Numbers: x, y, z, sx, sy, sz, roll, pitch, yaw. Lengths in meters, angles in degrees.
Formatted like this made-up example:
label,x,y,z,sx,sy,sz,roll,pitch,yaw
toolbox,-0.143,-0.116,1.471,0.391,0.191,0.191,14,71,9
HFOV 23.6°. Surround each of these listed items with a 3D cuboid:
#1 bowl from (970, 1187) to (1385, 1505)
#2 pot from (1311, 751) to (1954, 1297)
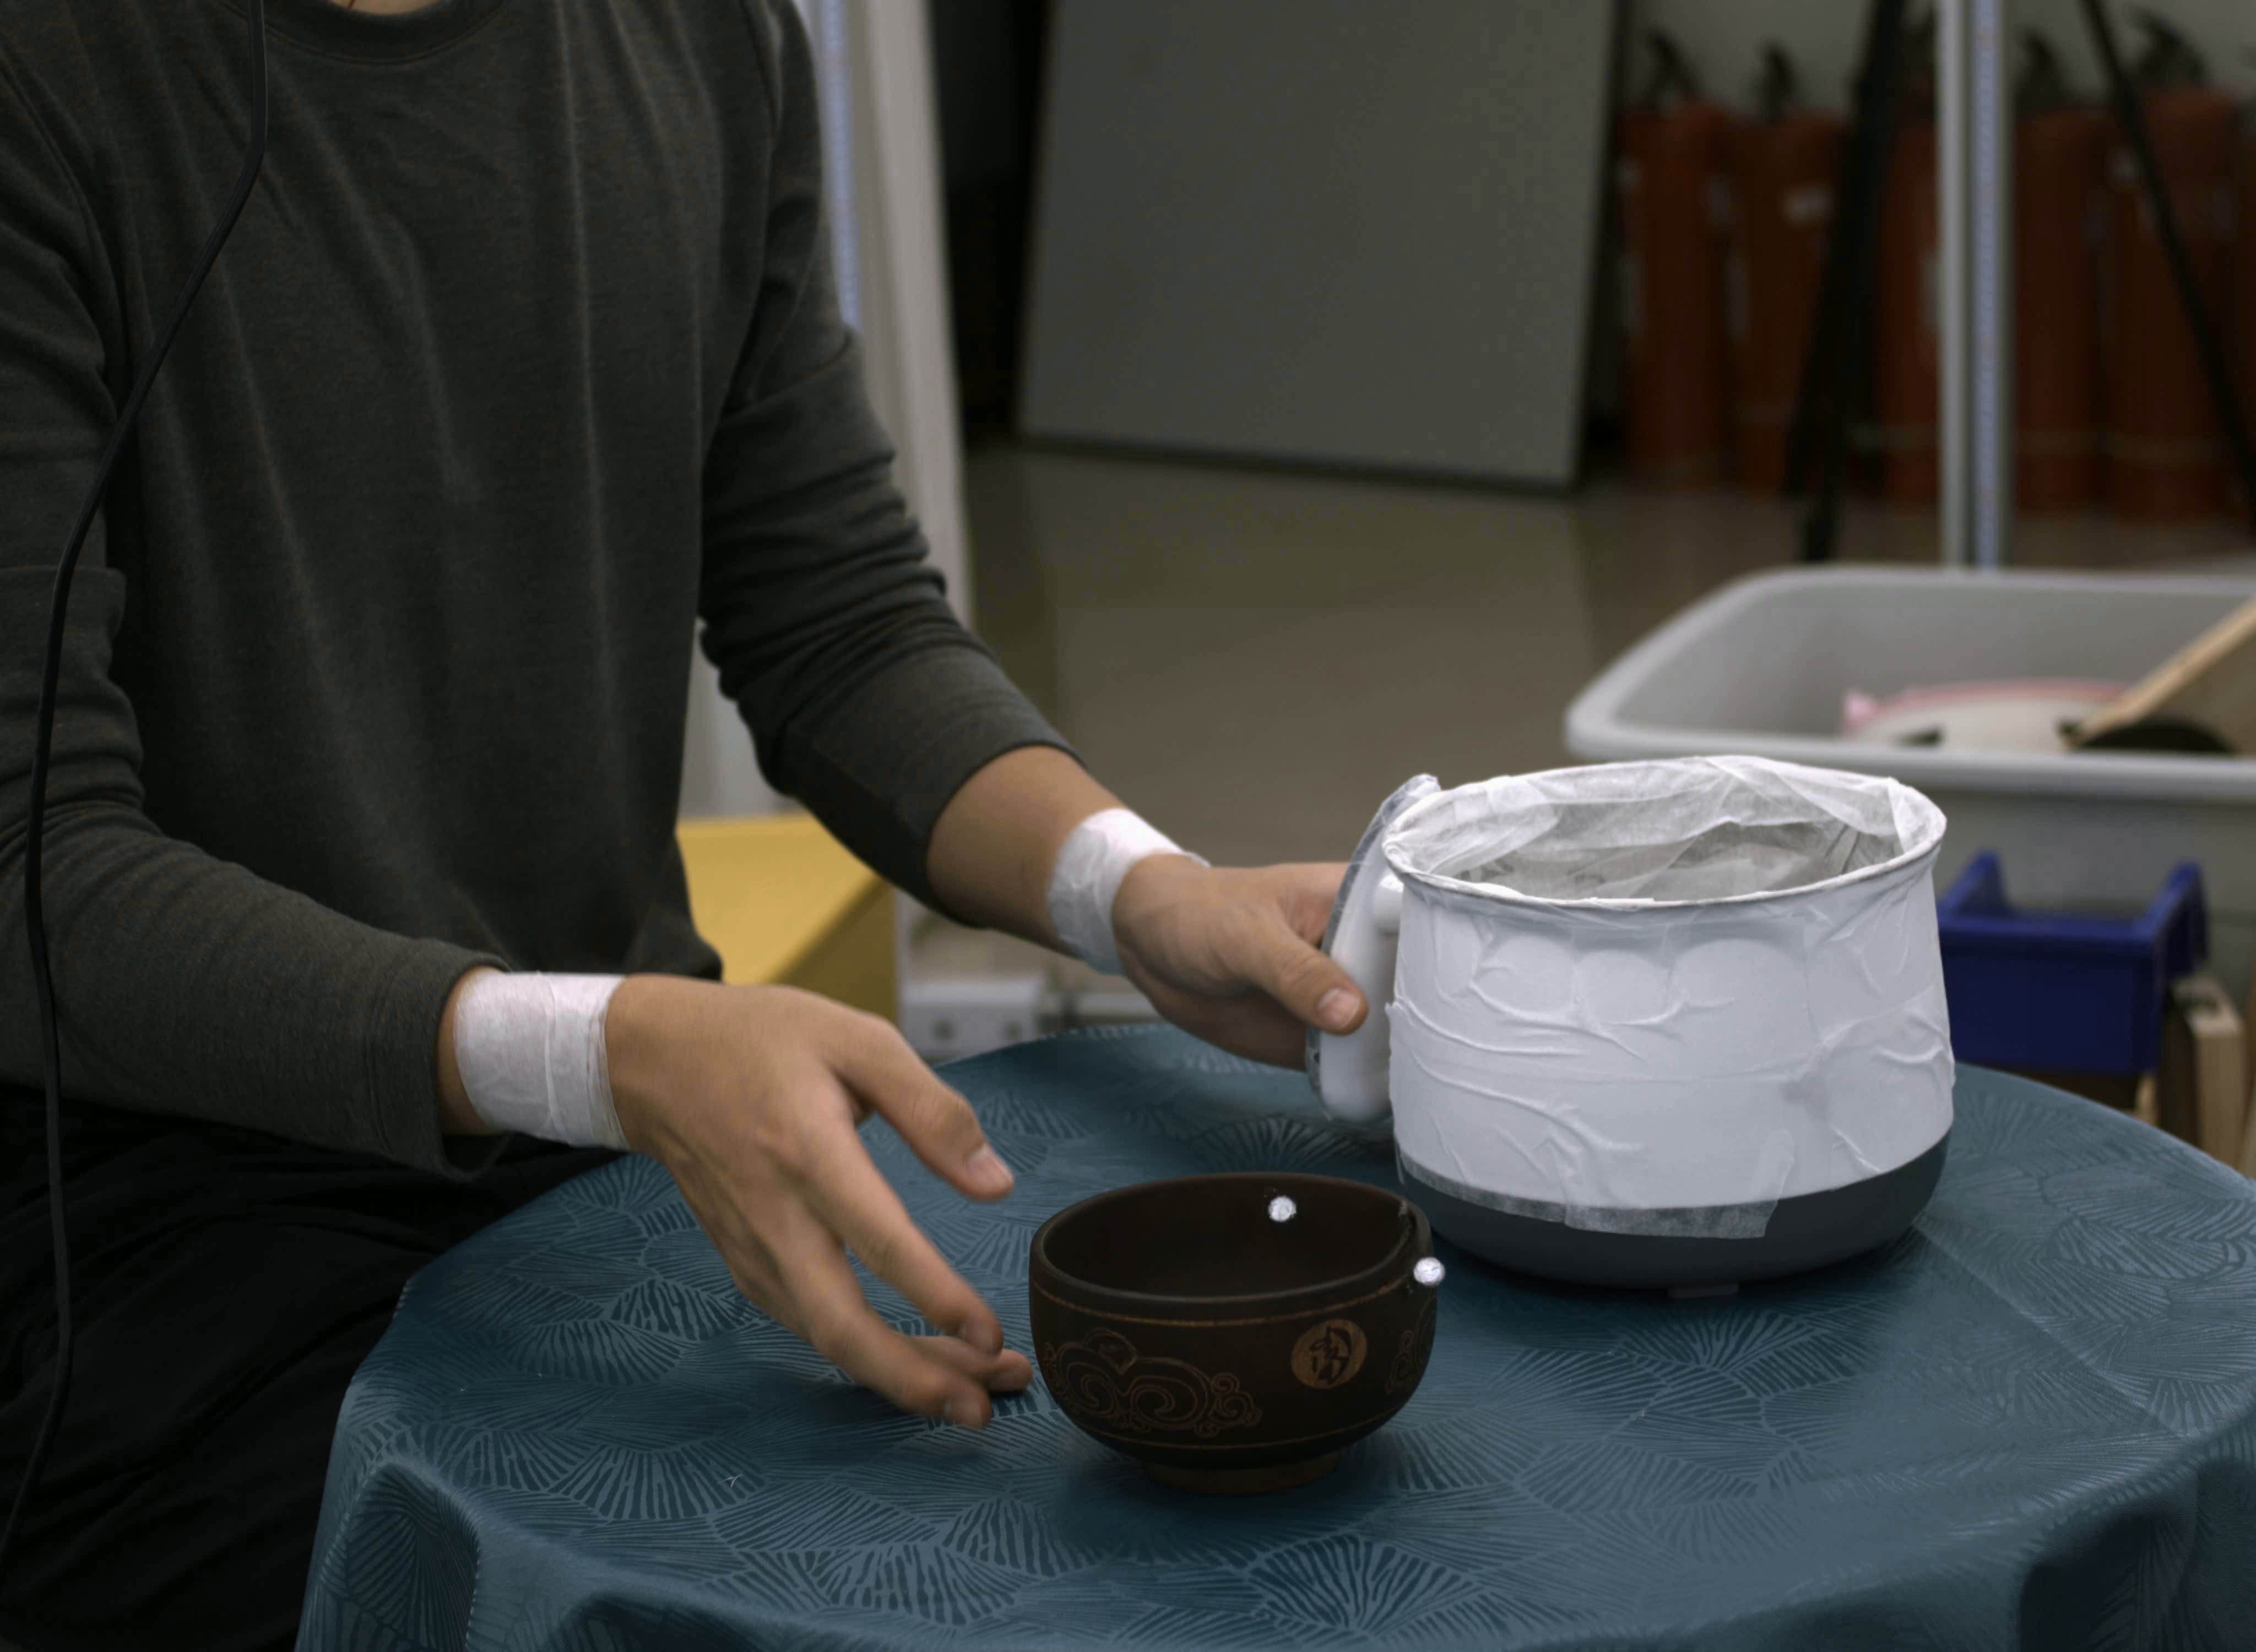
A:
label,x,y,z,sx,sy,sz,roll,pitch,yaw
bowl,0.017,0.150,1.518,0.116,0.070,0.118,-9,8,0
pot,0.149,0.057,1.702,0.236,0.138,0.175,8,17,43
